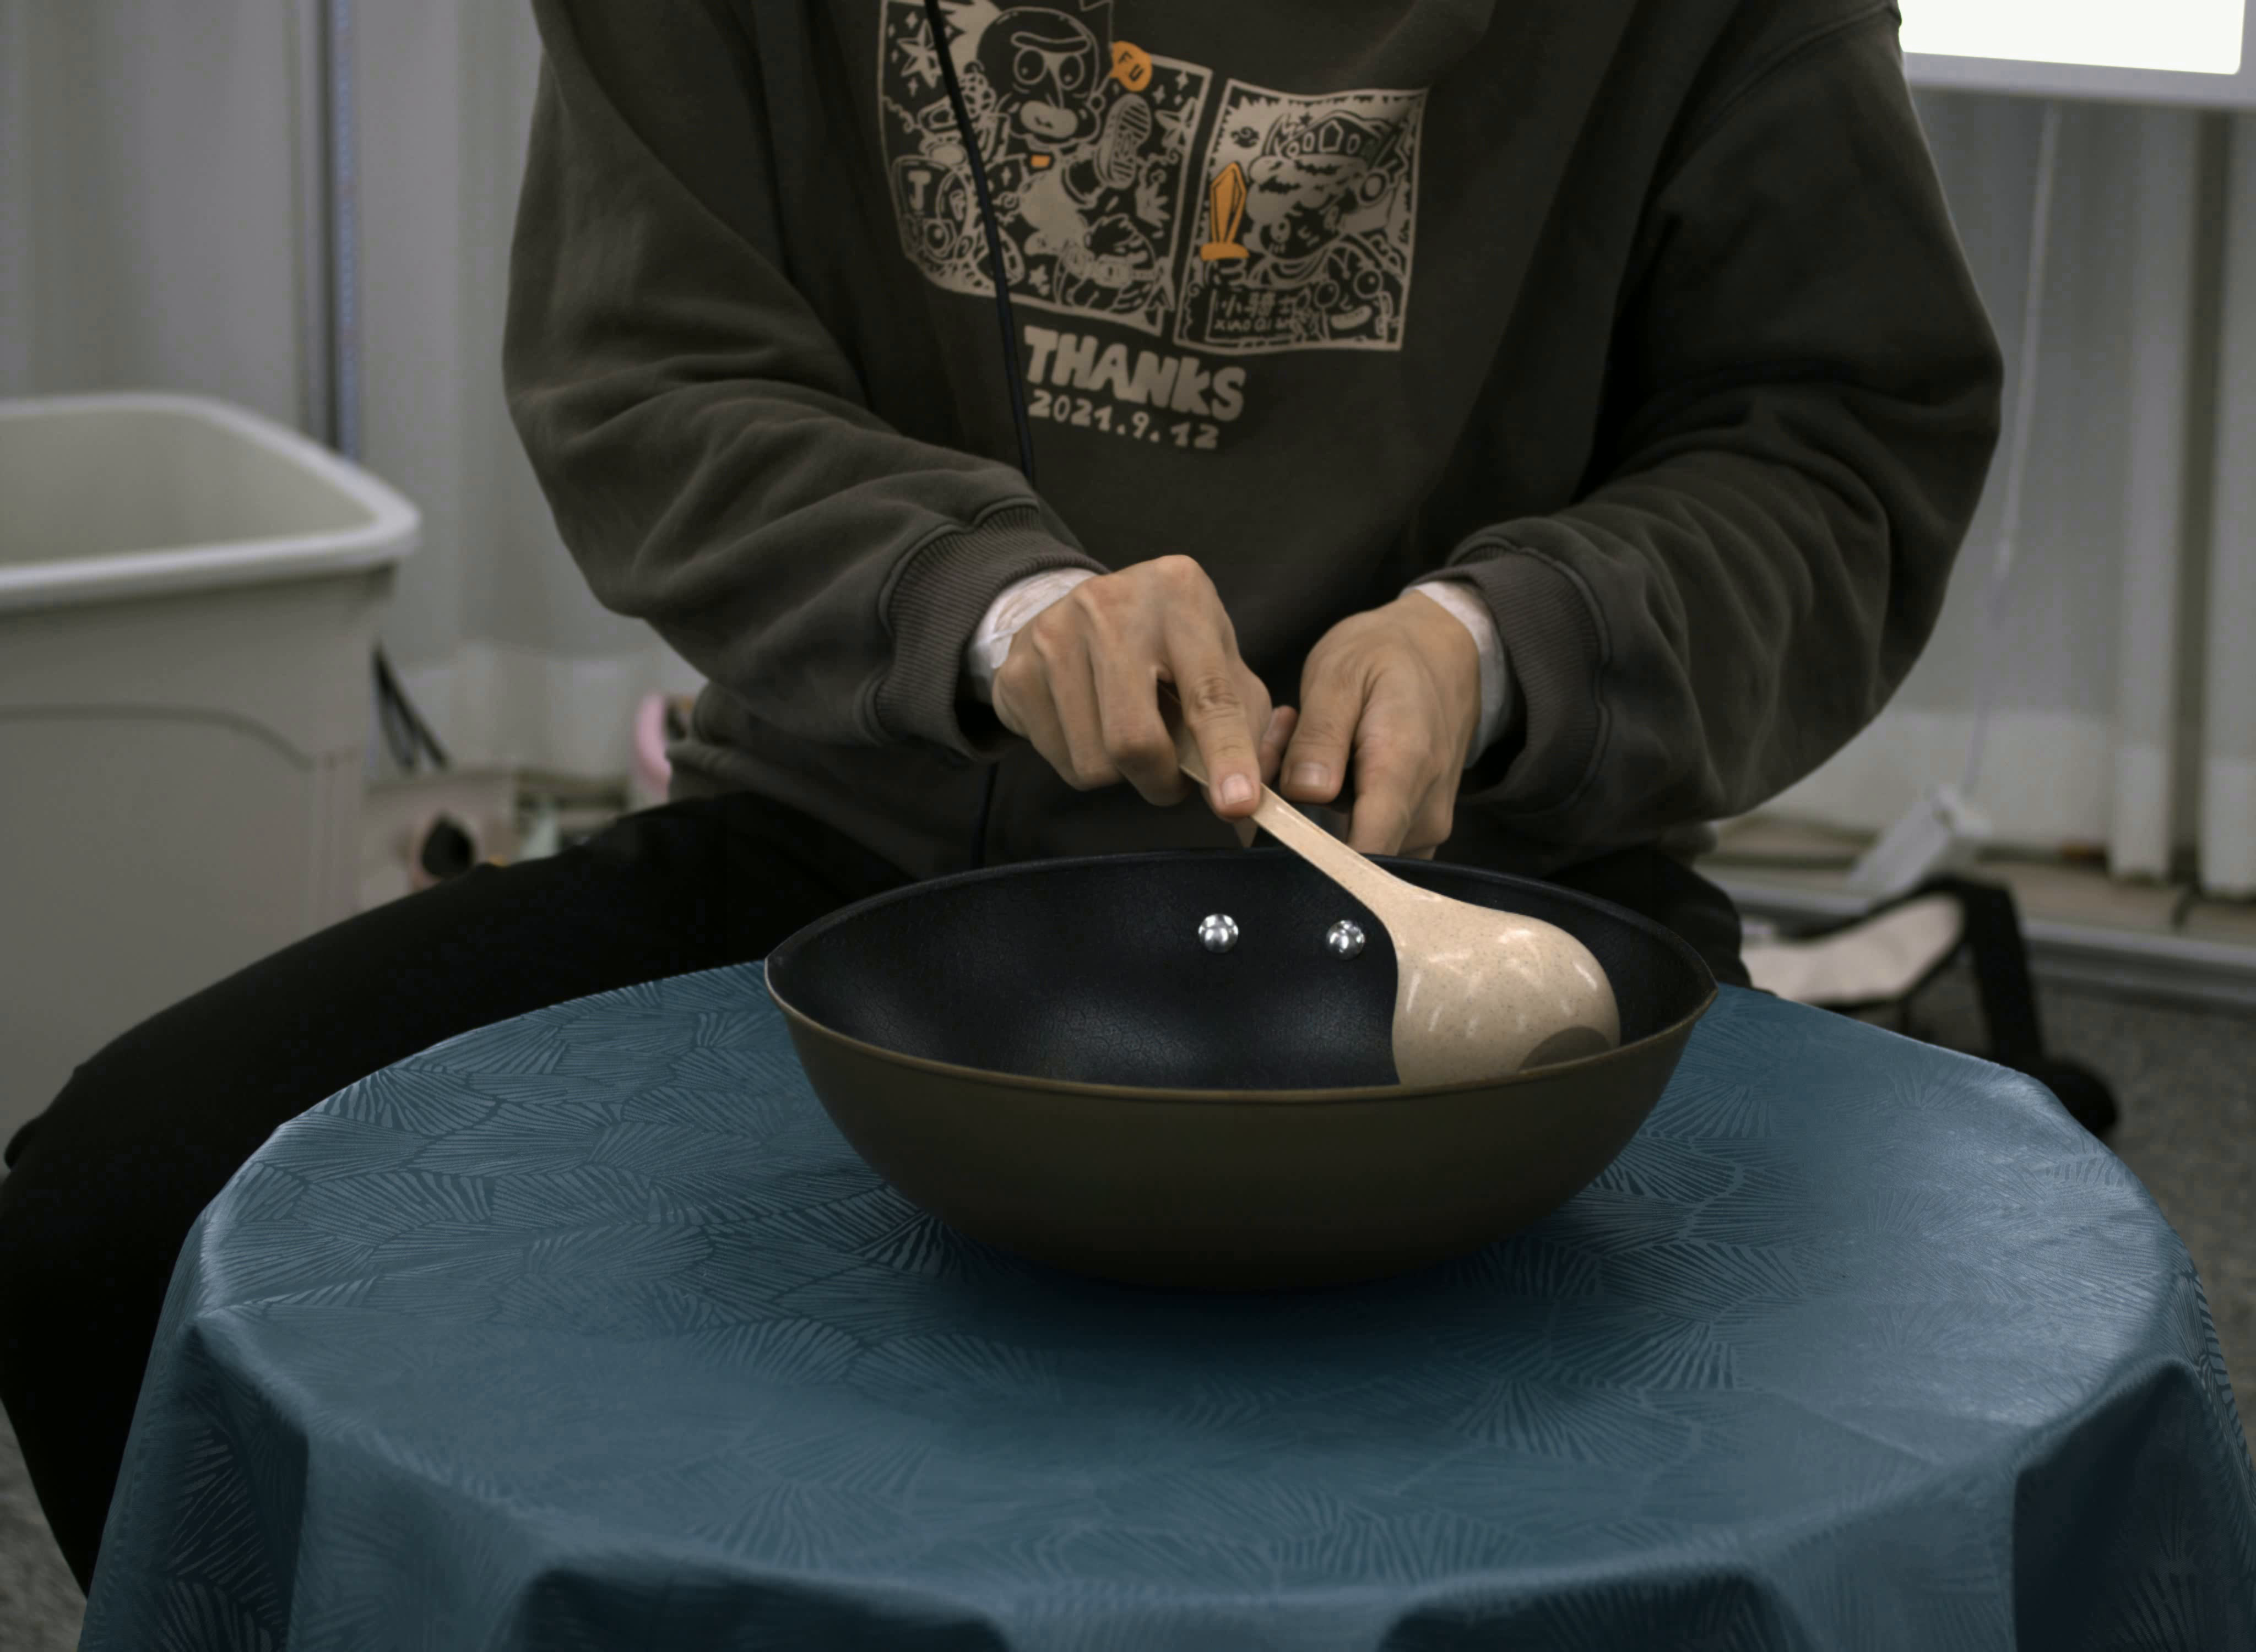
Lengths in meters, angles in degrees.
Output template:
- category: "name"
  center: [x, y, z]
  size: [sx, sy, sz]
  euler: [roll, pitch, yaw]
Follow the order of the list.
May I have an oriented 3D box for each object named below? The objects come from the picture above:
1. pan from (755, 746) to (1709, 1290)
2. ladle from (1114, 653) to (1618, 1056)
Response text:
- category: "pan"
  center: [0.043, 0.058, 1.678]
  size: [0.286, 0.087, 0.462]
  euler: [2, 13, 7]
- category: "ladle"
  center: [0.069, 0.023, 1.681]
  size: [0.072, 0.074, 0.251]
  euler: [-35, 38, -10]
